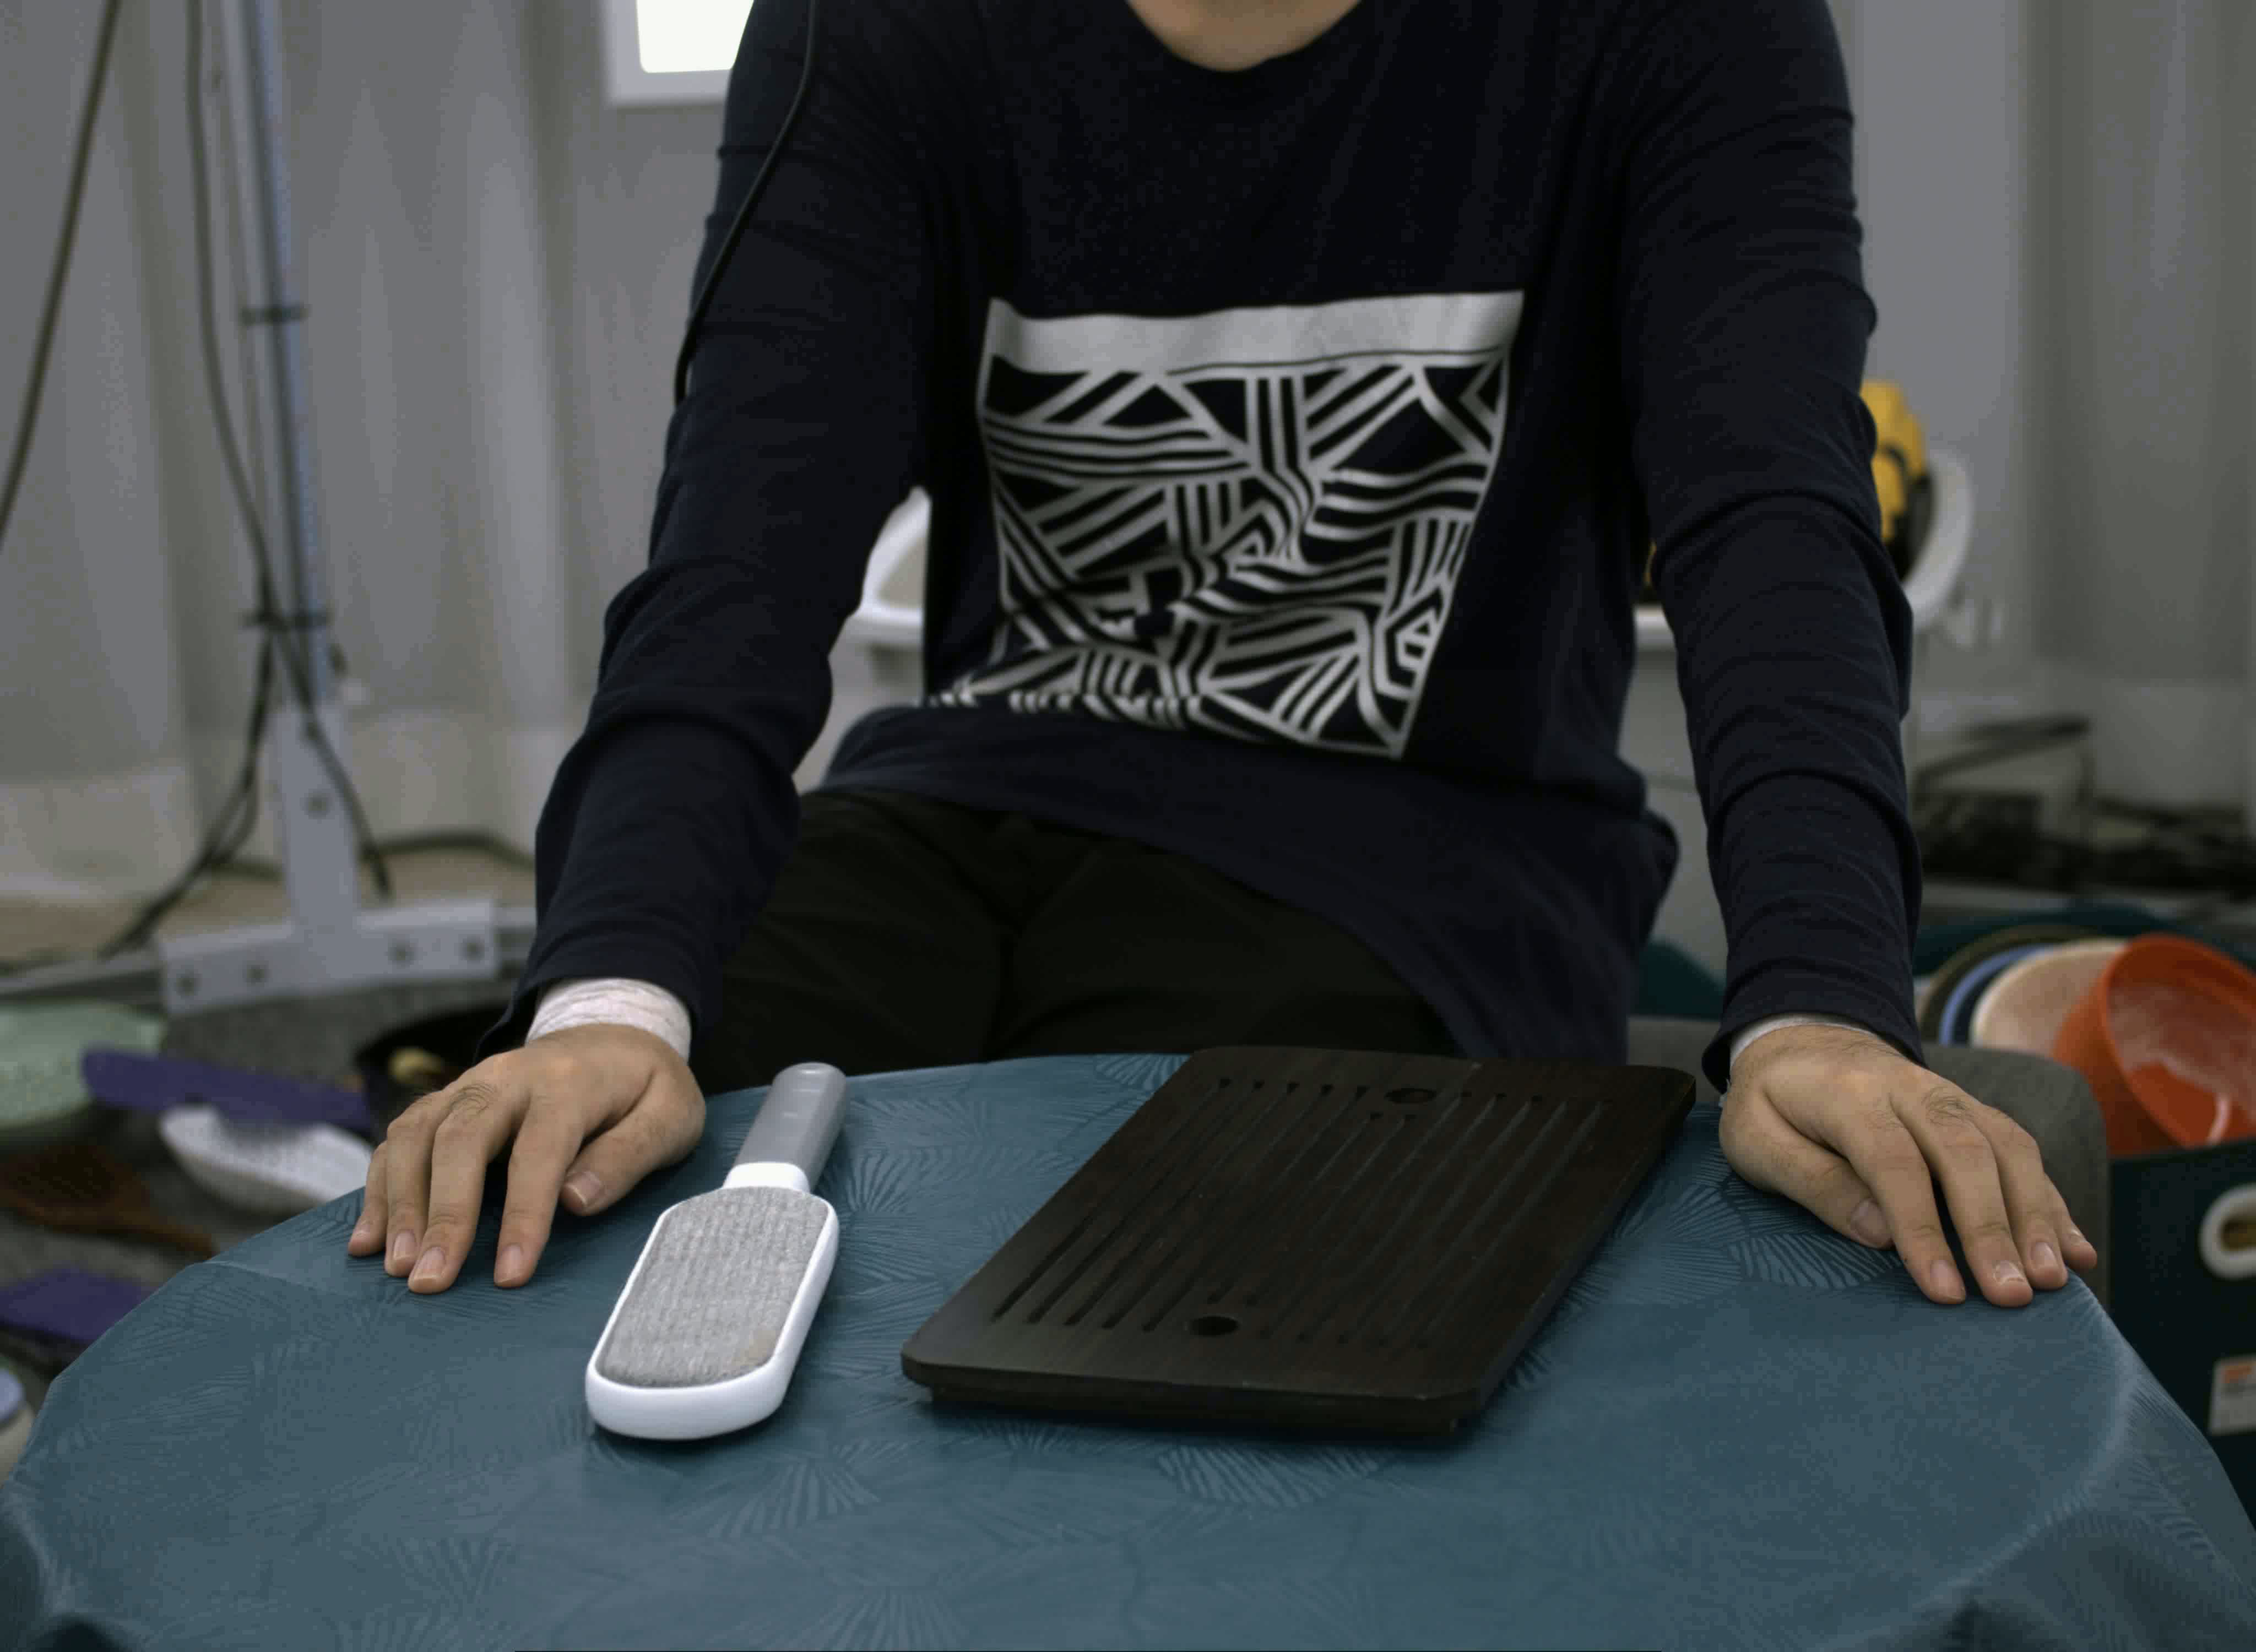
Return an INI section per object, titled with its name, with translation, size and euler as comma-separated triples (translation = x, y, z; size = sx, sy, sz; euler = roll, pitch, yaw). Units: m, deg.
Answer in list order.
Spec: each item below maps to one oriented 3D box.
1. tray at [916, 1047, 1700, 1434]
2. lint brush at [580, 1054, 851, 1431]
[tray]
translation = 0.062, 0.122, 1.647
size = 0.170, 0.018, 0.307
euler = 2, 15, 18
[lint brush]
translation = -0.114, 0.122, 1.659
size = 0.060, 0.021, 0.311
euler = -6, 14, 6
